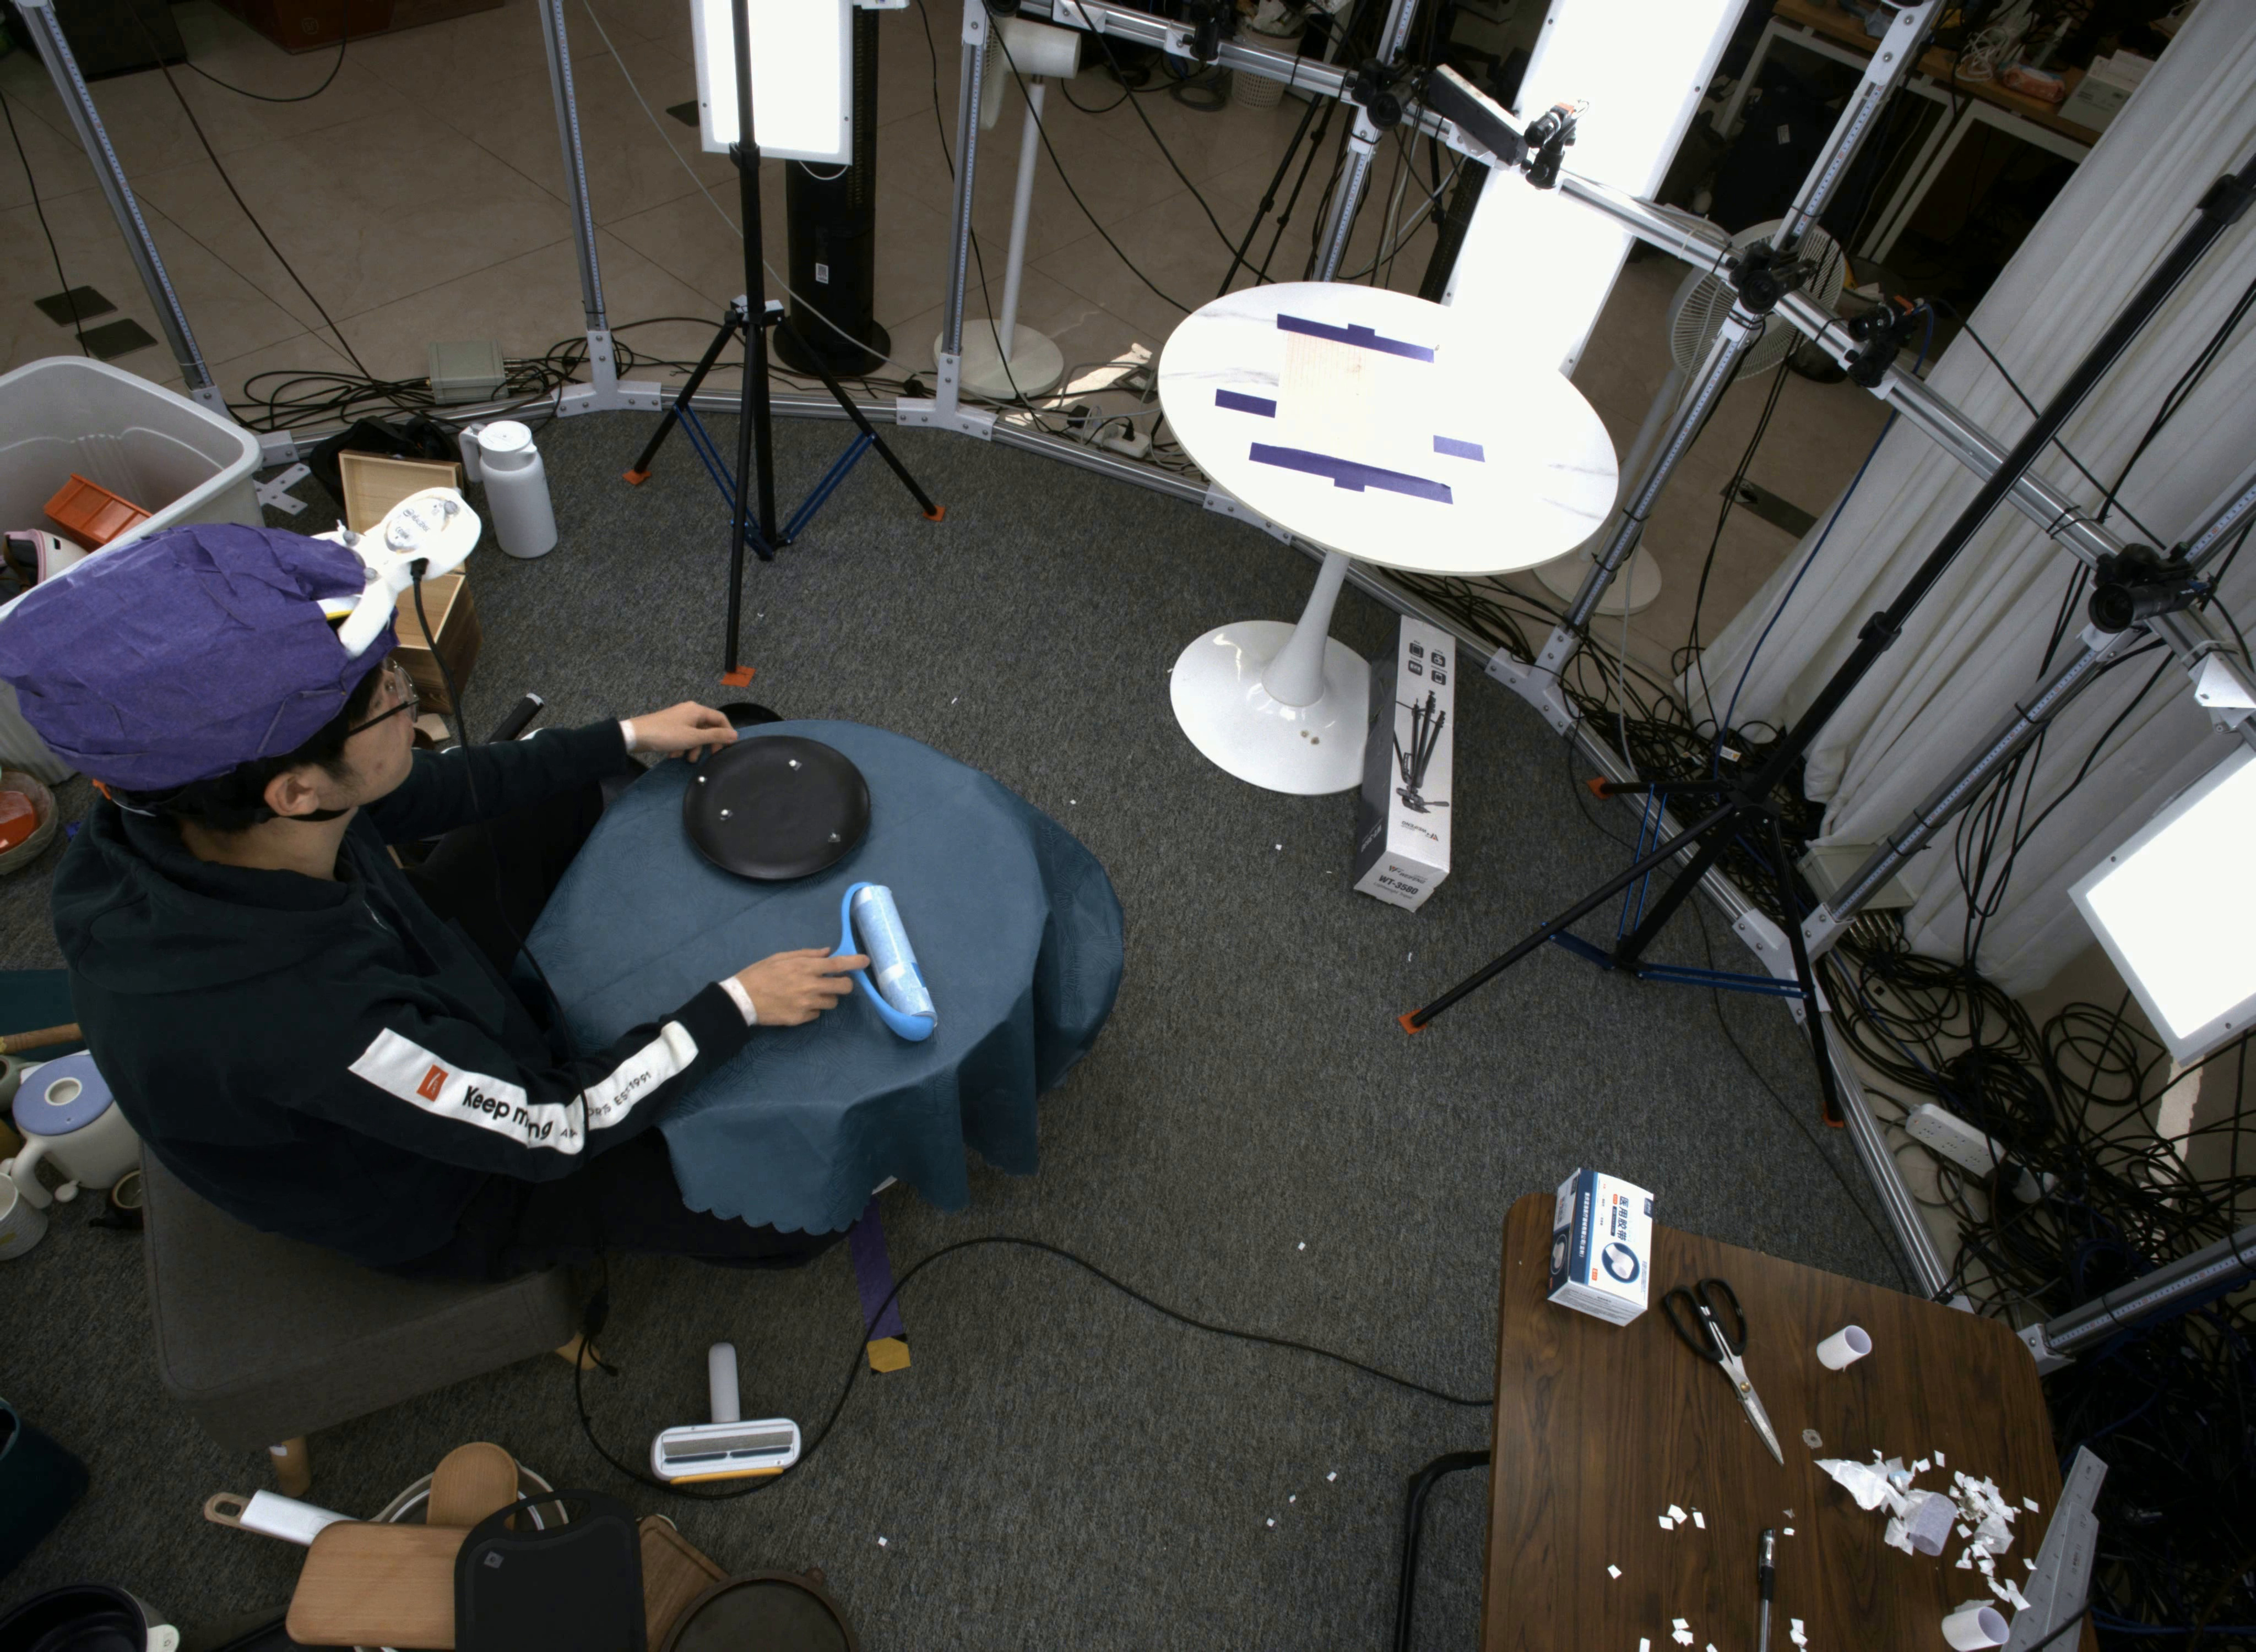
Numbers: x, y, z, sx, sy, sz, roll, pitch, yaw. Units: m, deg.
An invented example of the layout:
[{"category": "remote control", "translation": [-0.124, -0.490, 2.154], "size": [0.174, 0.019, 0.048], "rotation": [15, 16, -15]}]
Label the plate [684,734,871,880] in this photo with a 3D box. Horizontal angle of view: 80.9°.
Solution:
[{"category": "plate", "translation": [-0.465, -0.024, 1.723], "size": [0.244, 0.024, 0.240], "rotation": [8, 53, -9]}]

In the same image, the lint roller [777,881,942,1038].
[{"category": "lint roller", "translation": [-0.341, 0.176, 1.586], "size": [0.181, 0.069, 0.223], "rotation": [-17, 61, -25]}]
